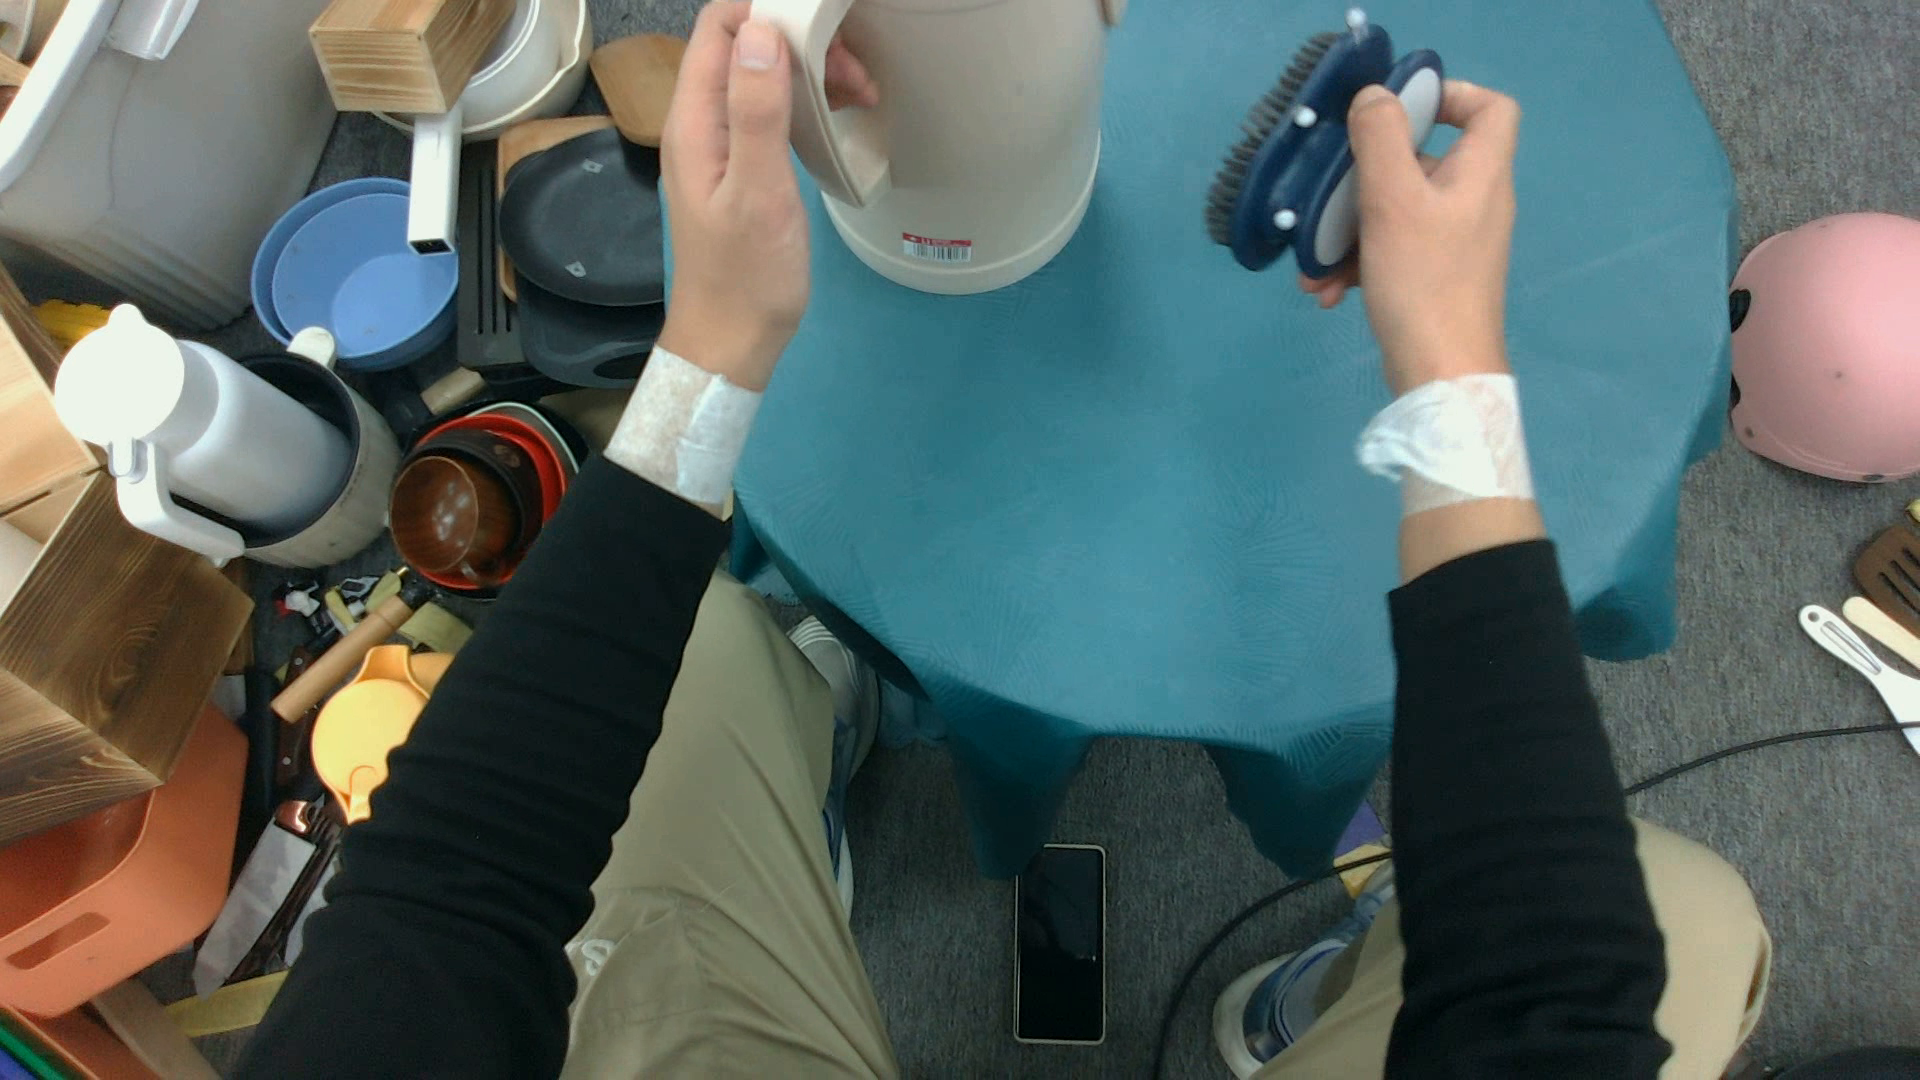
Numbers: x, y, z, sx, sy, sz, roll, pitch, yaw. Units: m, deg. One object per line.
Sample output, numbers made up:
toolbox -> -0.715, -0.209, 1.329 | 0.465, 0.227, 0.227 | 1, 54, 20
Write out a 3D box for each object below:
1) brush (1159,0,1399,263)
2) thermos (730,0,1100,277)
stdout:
brush -> 0.134, -0.178, 0.591 | 0.061, 0.068, 0.122 | 31, 81, 23
thermos -> -0.026, -0.255, 0.594 | 0.175, 0.405, 0.207 | 27, 78, 5
